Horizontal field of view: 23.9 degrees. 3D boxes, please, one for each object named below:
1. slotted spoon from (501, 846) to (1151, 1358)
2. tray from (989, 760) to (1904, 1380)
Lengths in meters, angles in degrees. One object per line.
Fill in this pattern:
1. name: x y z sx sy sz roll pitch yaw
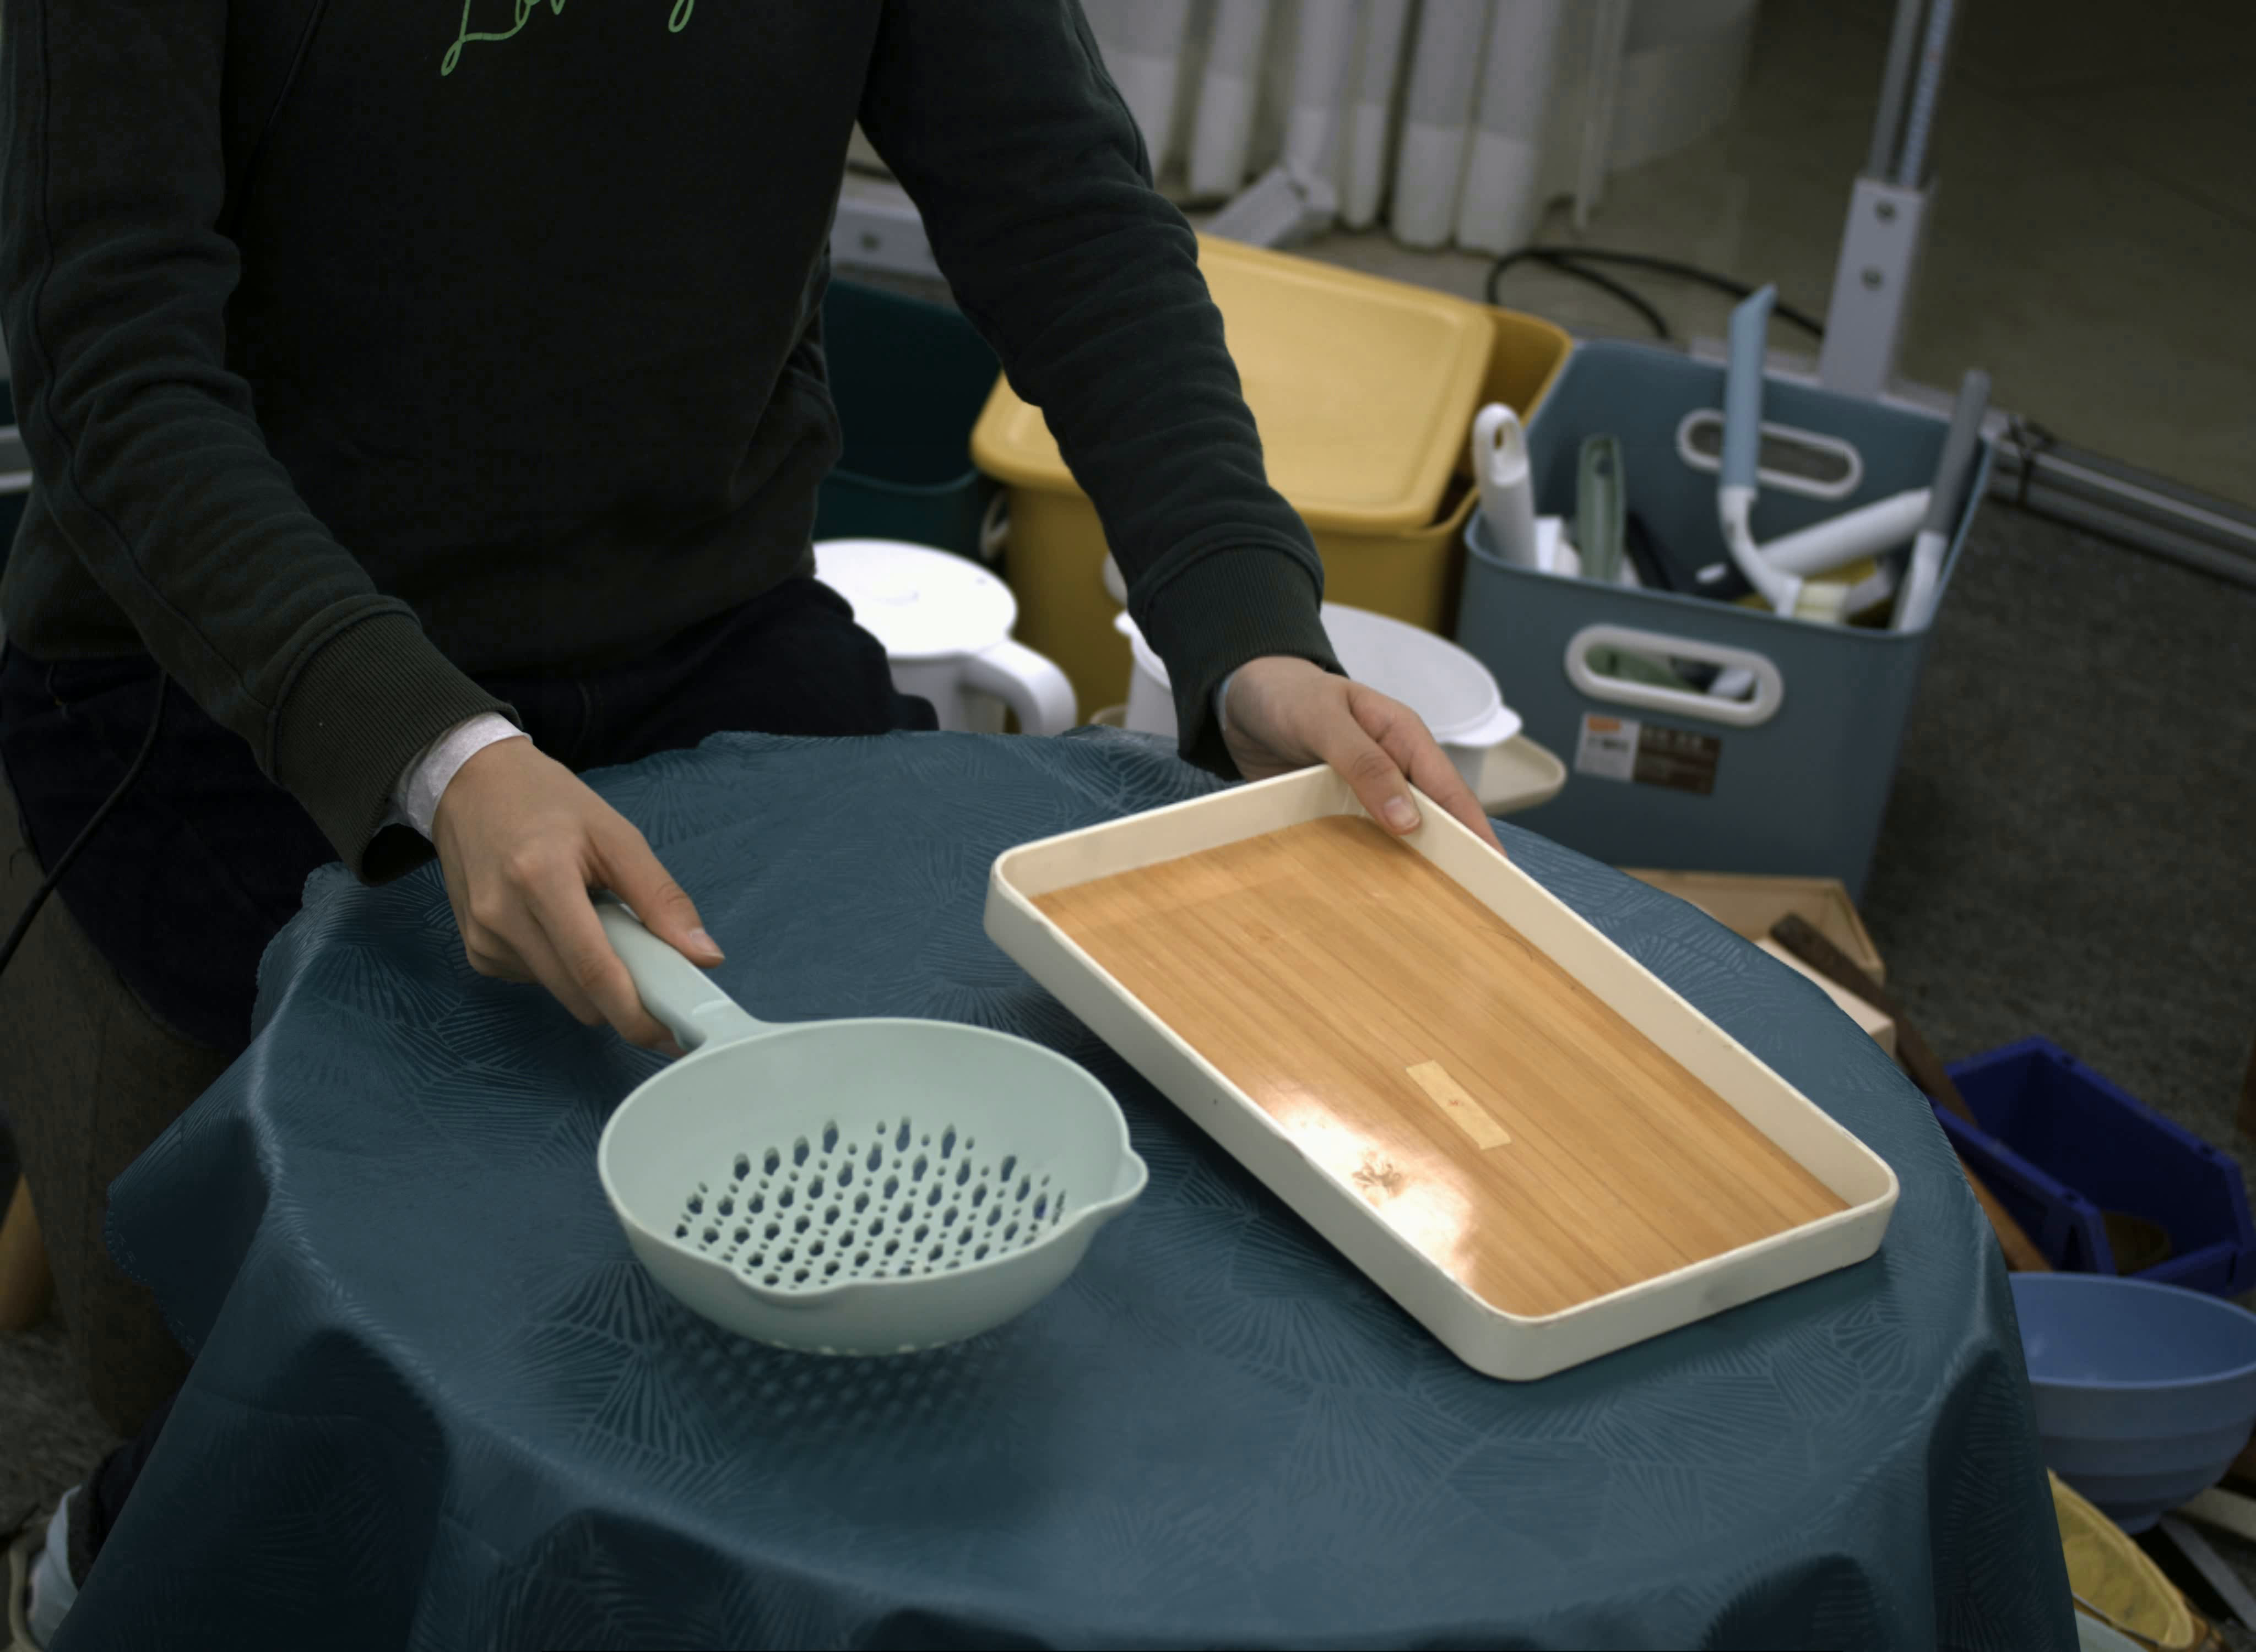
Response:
1. slotted spoon: -0.132 0.074 1.765 0.168 0.075 0.362 -14 37 -26
2. tray: 0.107 0.078 1.850 0.190 0.027 0.303 -14 40 -36
